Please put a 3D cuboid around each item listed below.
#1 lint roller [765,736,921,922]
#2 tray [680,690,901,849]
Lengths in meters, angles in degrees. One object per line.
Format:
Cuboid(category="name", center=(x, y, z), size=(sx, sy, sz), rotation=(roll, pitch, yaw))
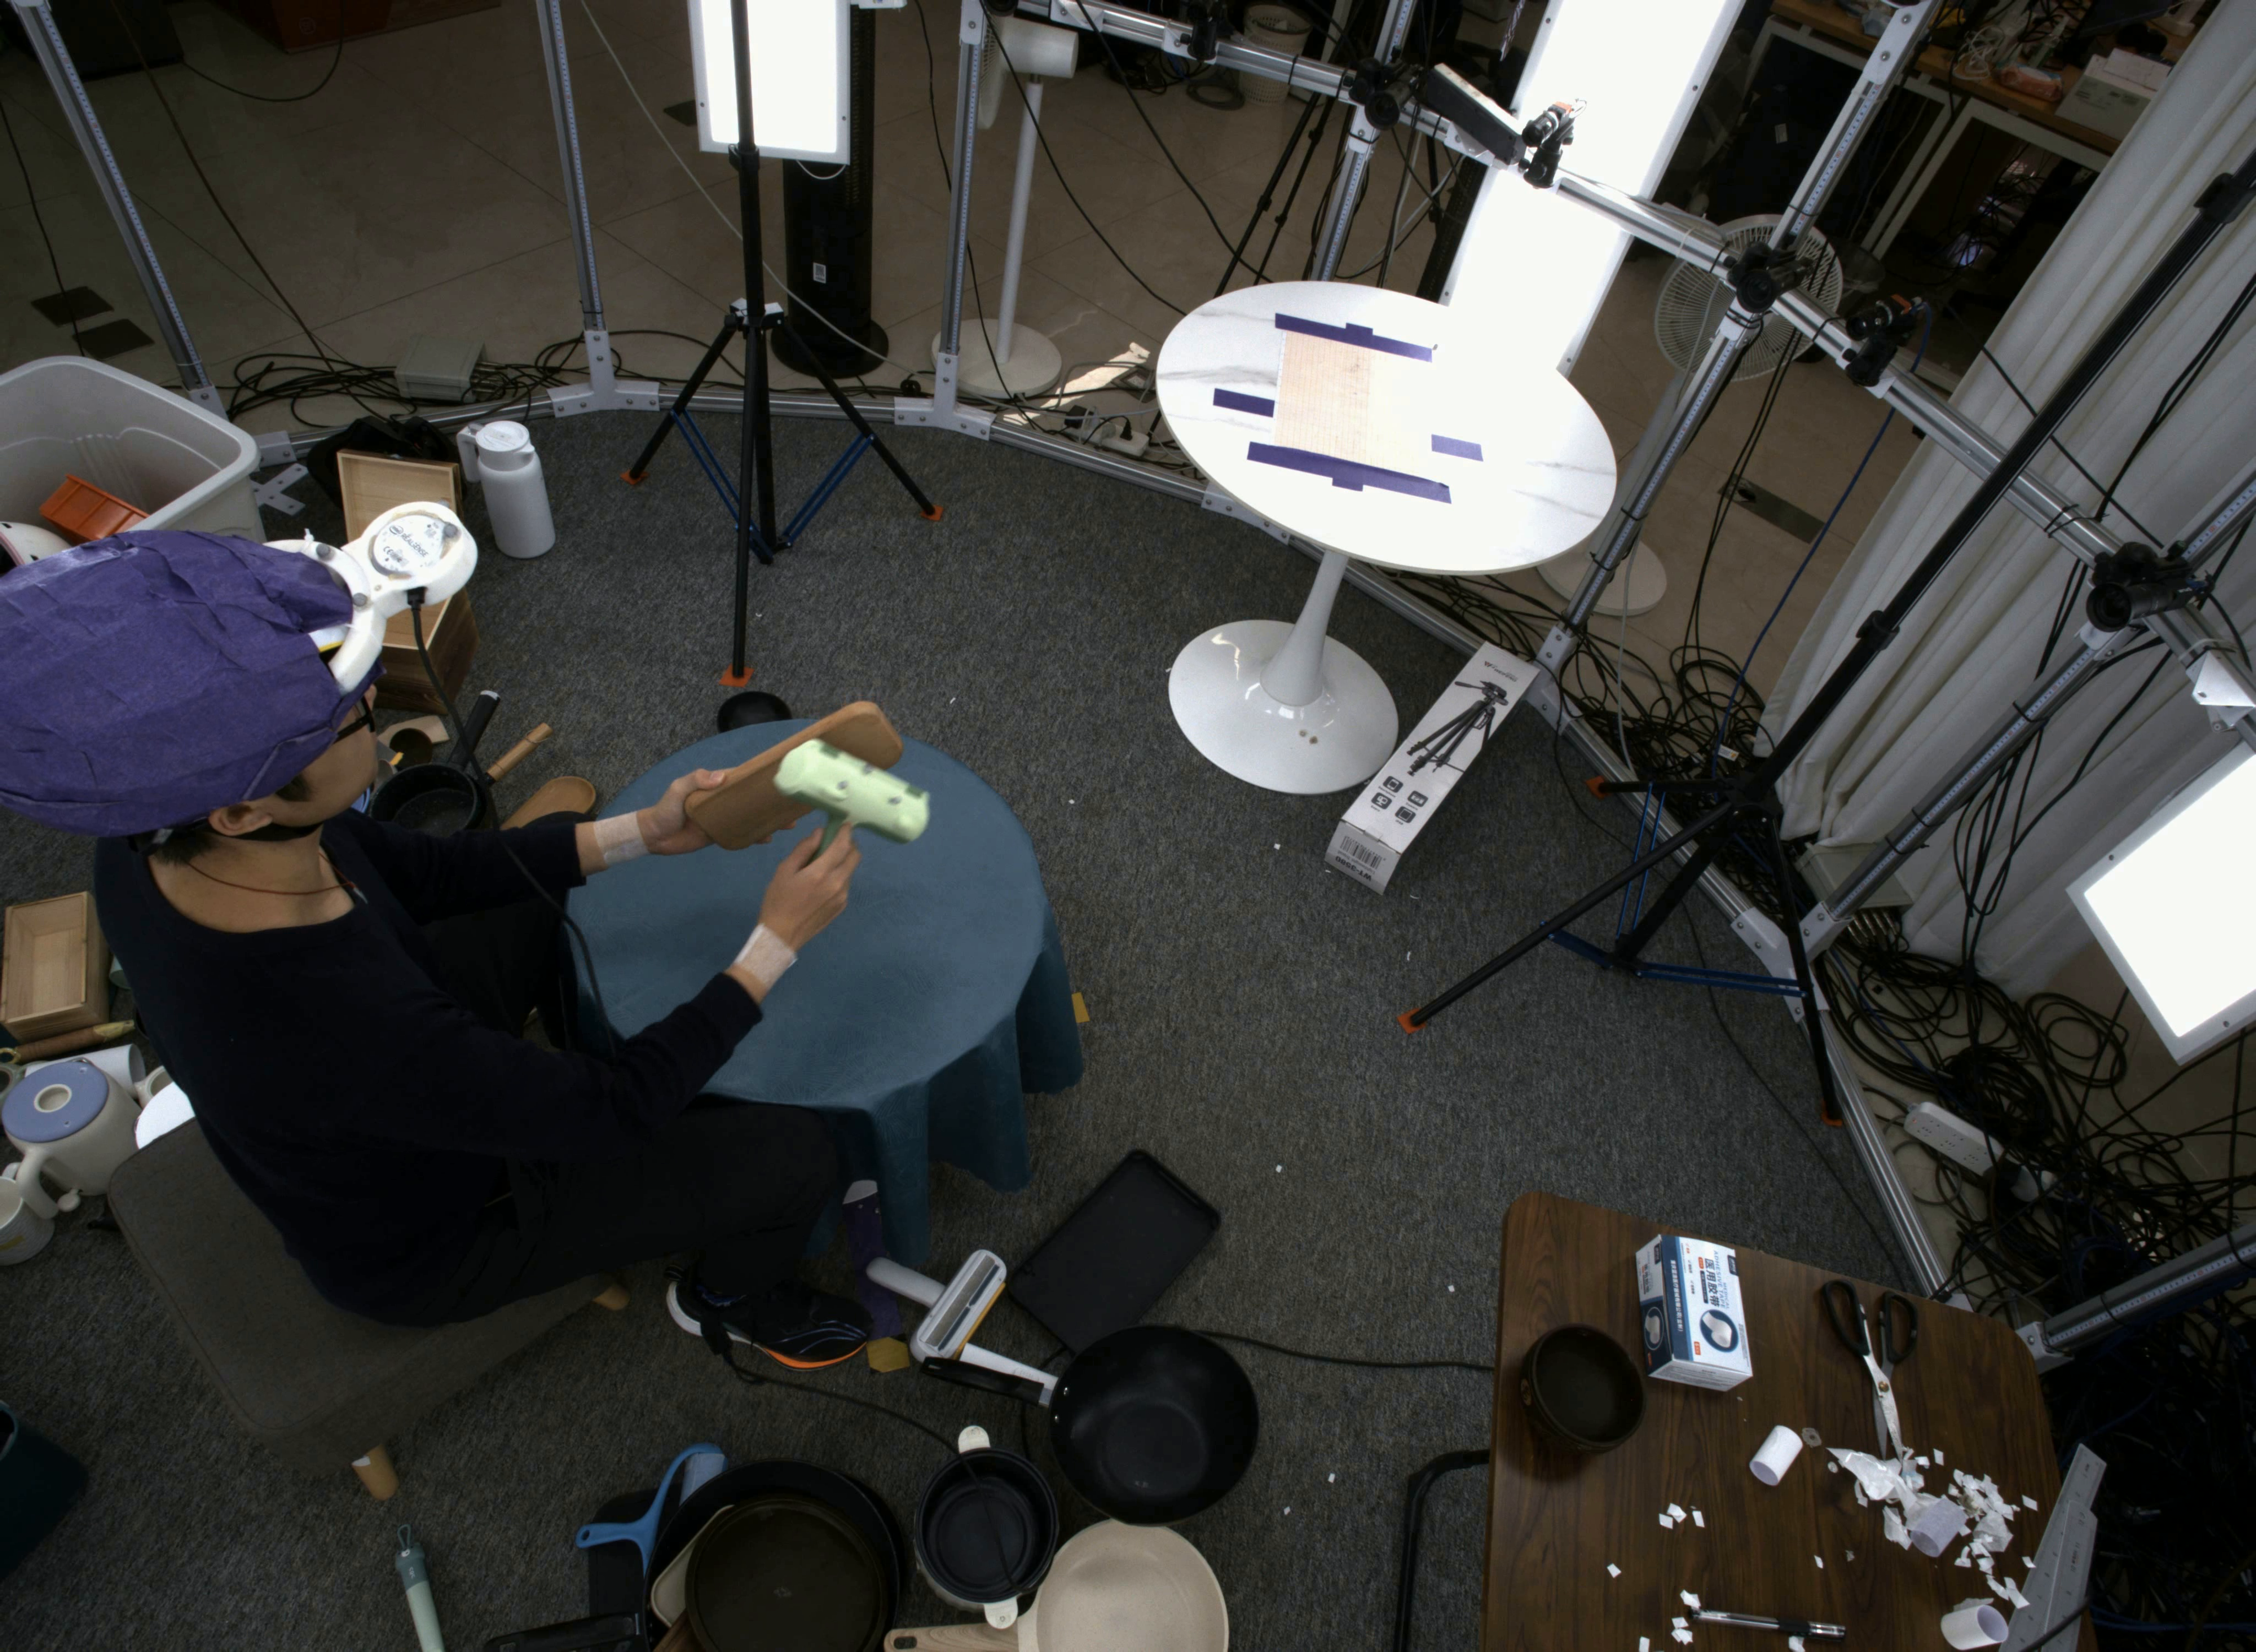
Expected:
Cuboid(category="lint roller", center=(-0.320, 0.020, 1.427), size=(0.079, 0.205, 0.184), rotation=(9, 78, 36))
Cuboid(category="tray", center=(-0.383, -0.061, 1.482), size=(0.249, 0.135, 0.022), rotation=(-31, 57, -4))
